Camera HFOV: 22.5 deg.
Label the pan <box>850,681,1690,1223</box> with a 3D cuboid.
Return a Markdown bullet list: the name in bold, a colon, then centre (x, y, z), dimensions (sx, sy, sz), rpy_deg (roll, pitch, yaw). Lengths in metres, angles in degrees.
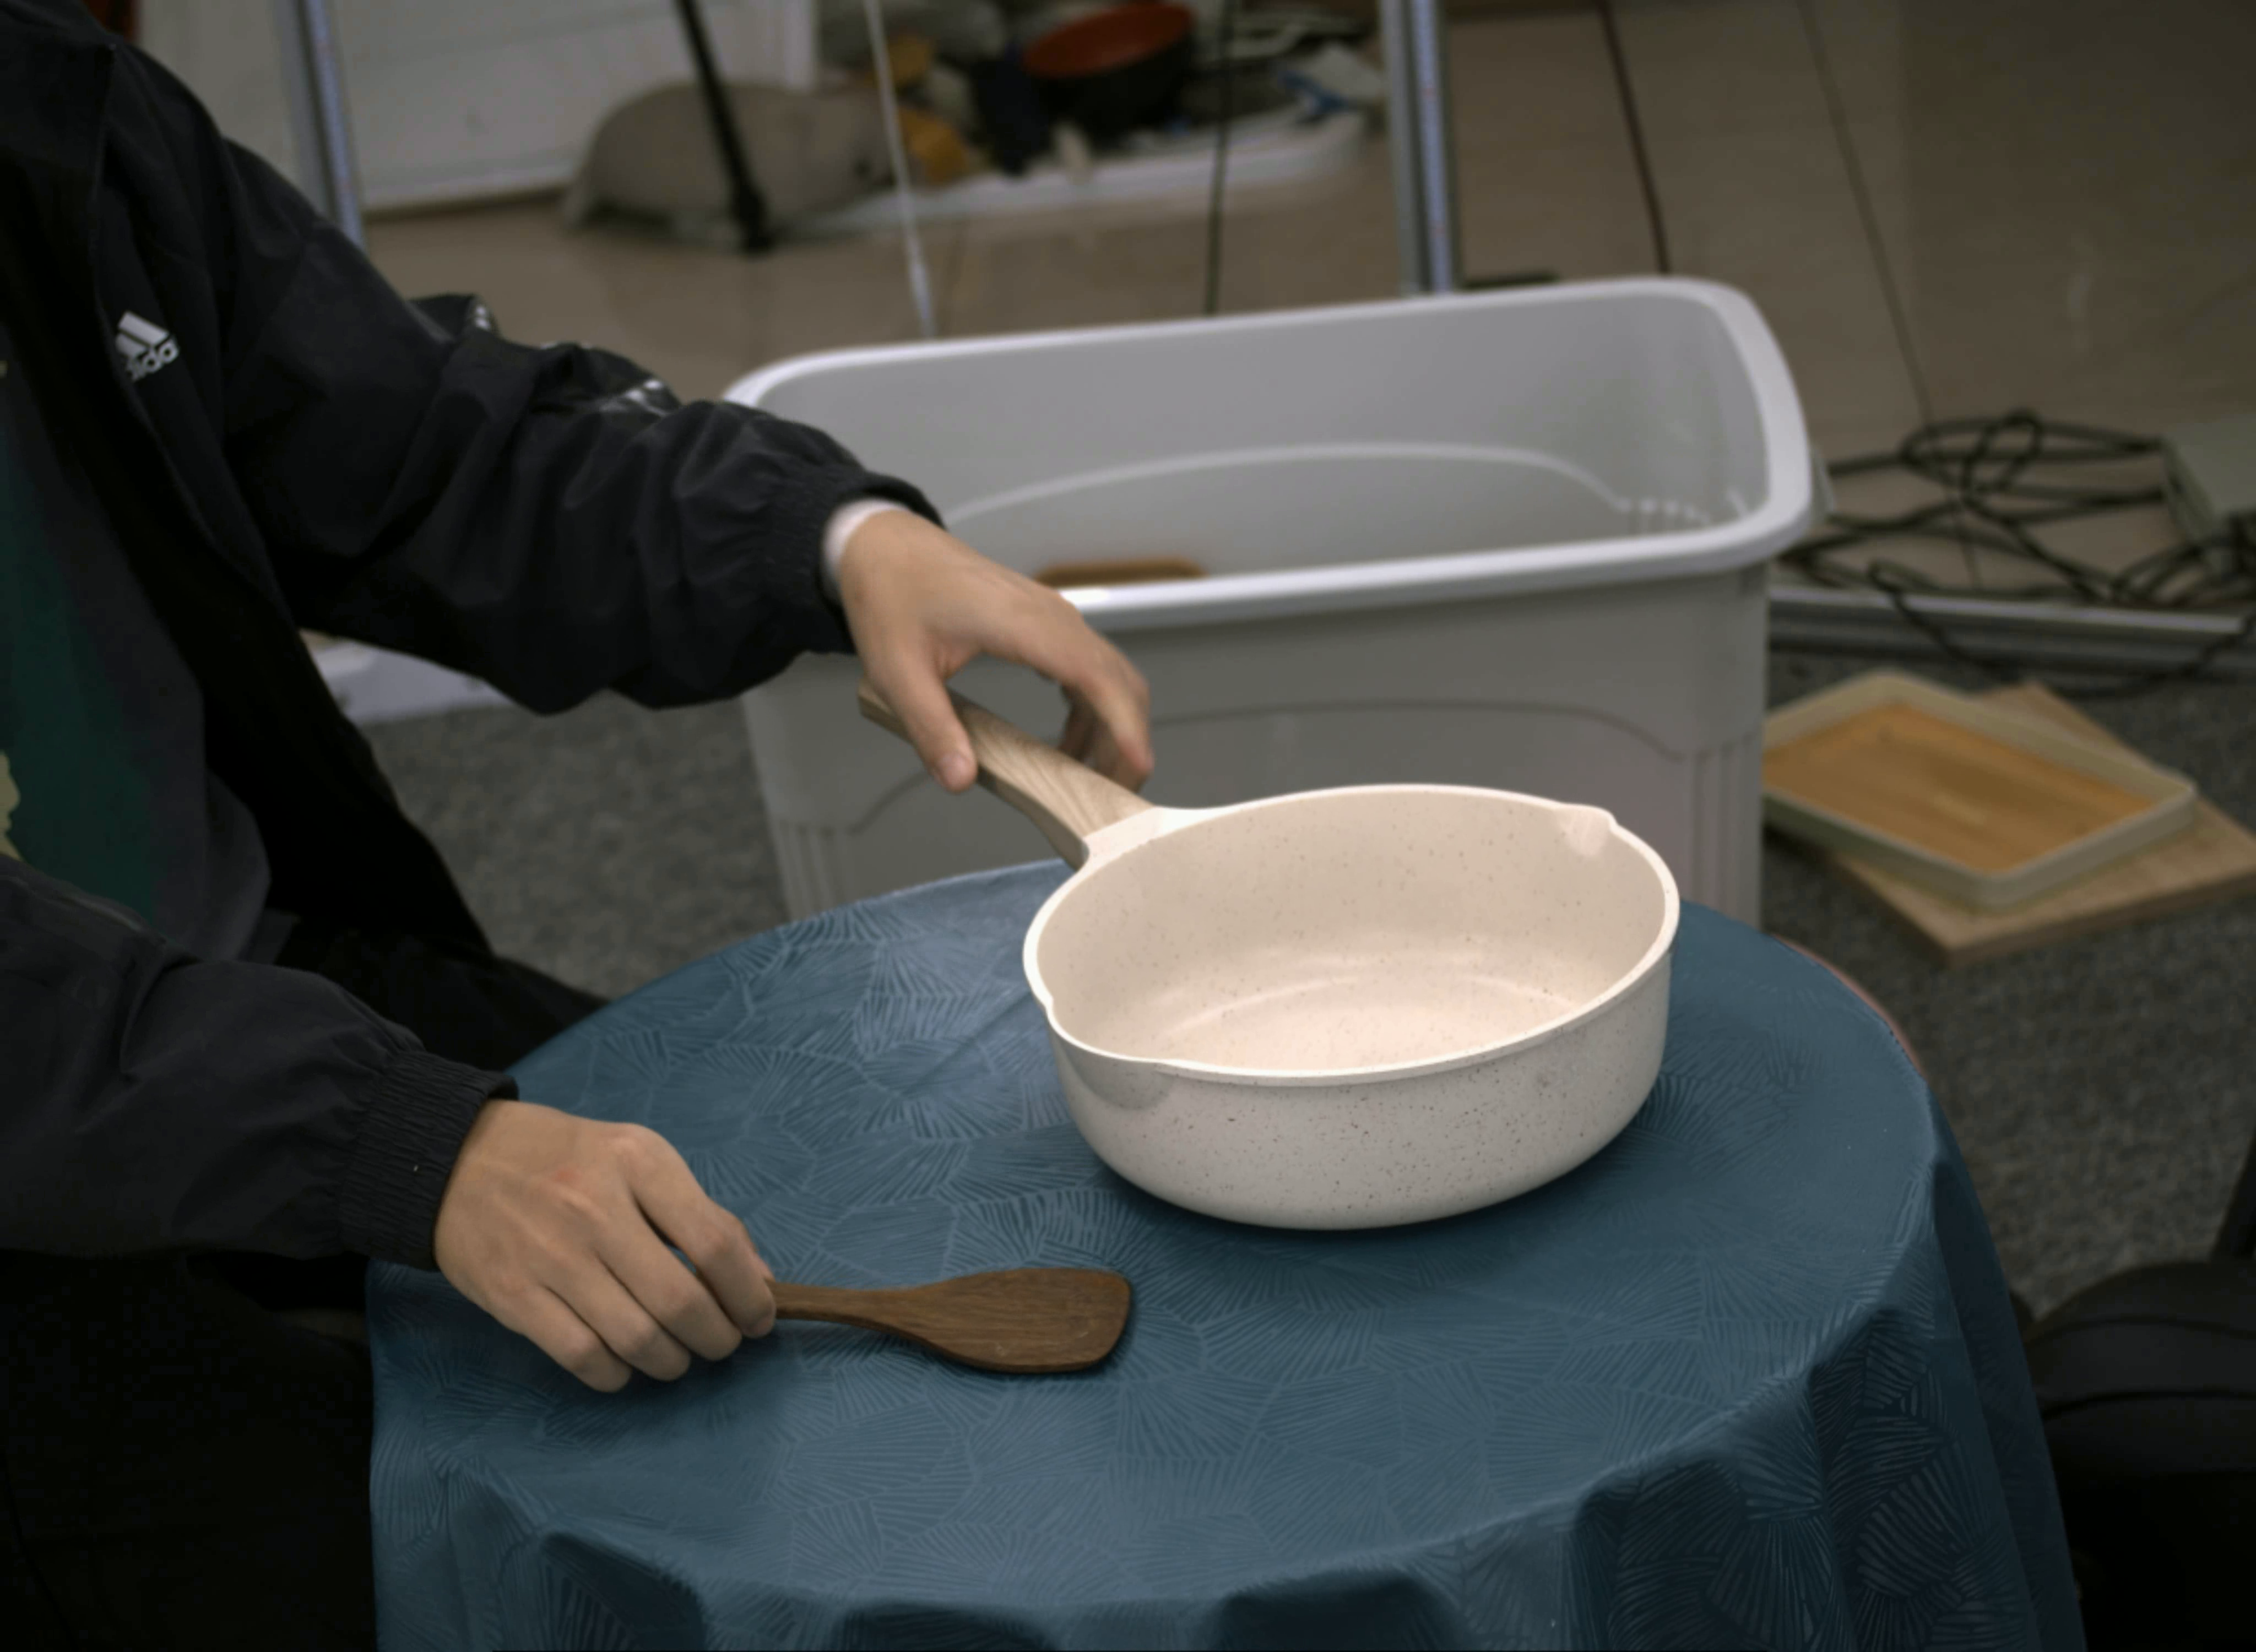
- **pan**: centre (0.035, 0.040, 2.235), dimensions (0.261, 0.103, 0.431), rpy_deg (-26, 30, -32)

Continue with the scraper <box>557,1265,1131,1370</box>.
- **scraper**: centre (-0.104, 0.175, 2.069), dimensions (0.211, 0.011, 0.075), rpy_deg (3, 24, 7)
